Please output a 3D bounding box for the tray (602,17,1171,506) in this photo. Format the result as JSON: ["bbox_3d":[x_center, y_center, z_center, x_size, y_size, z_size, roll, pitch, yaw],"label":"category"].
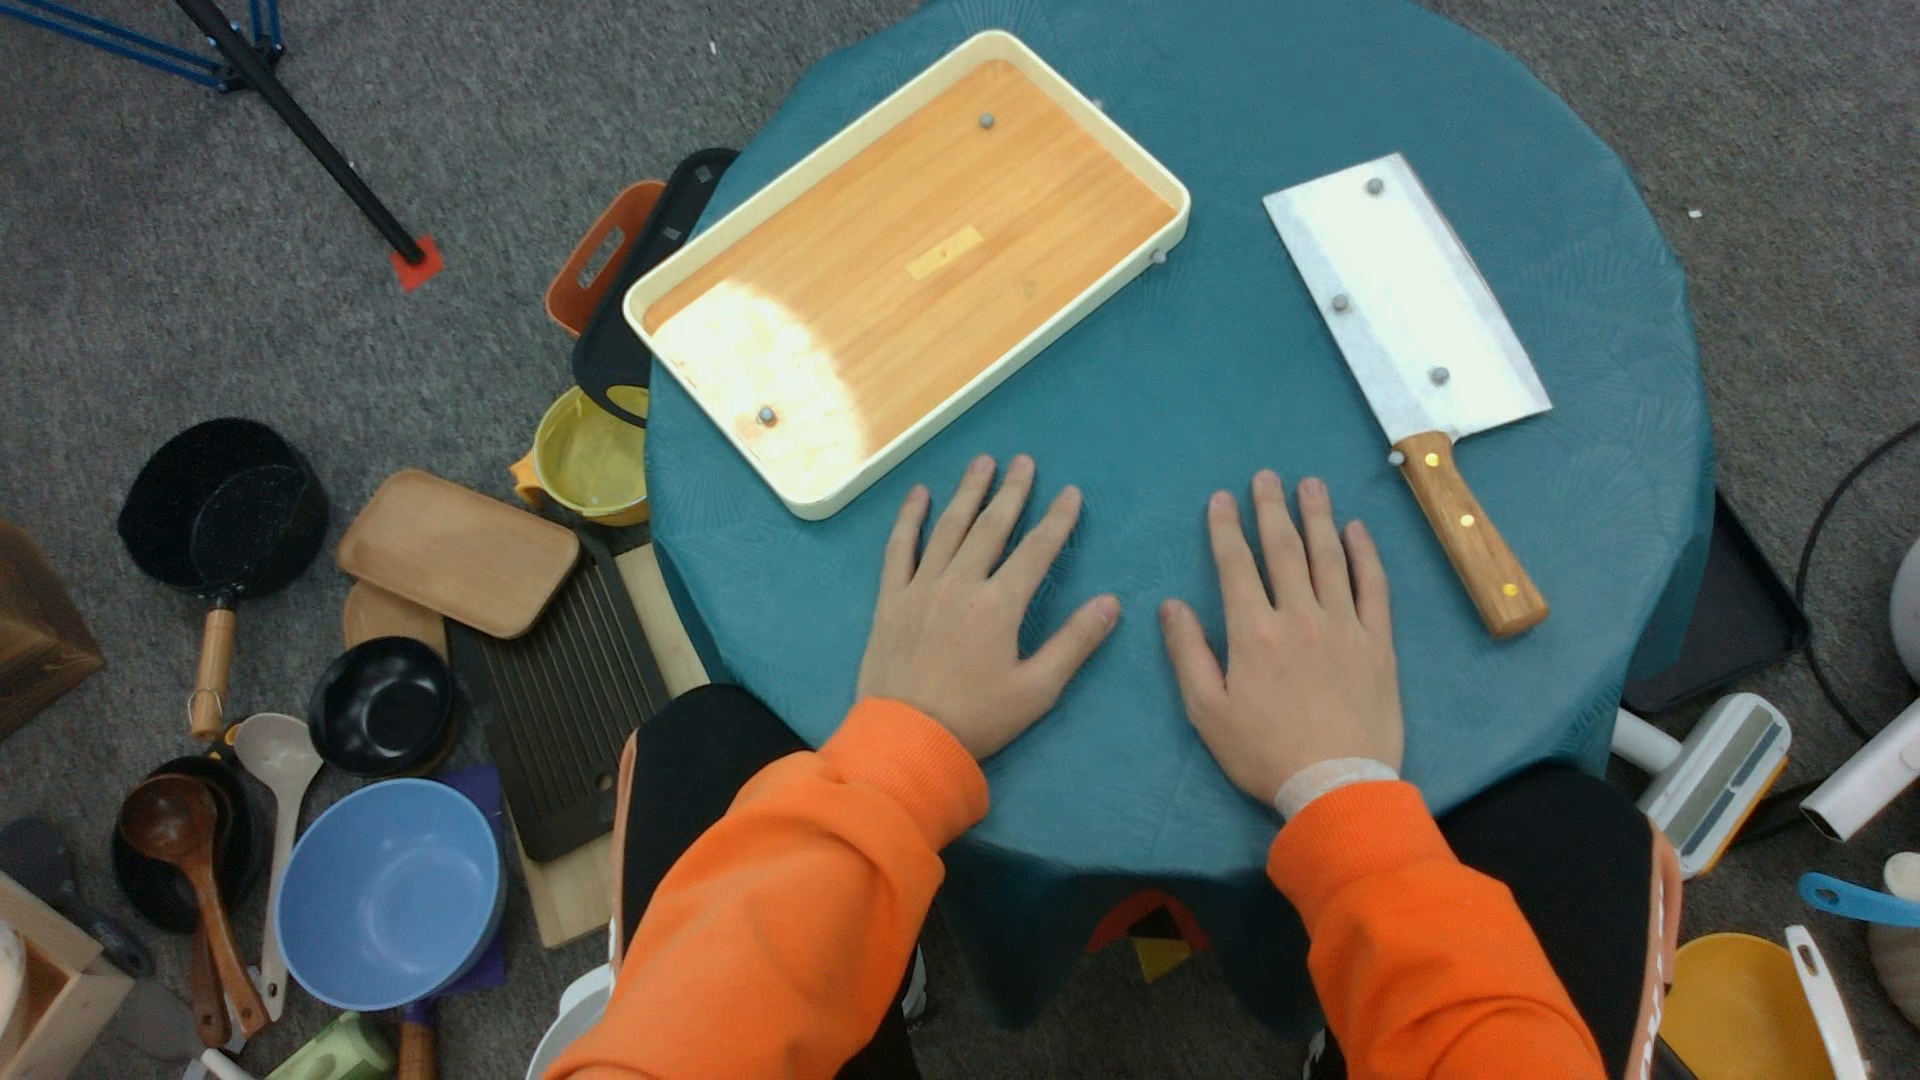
[{"bbox_3d":[-0.043,-0.173,0.816,0.301,0.027,0.192,-39,70,-11],"label":"tray"}]

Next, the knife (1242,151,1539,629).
[{"bbox_3d":[0.256,-0.097,0.766,0.093,0.021,0.306,-19,65,-4],"label":"knife"}]
